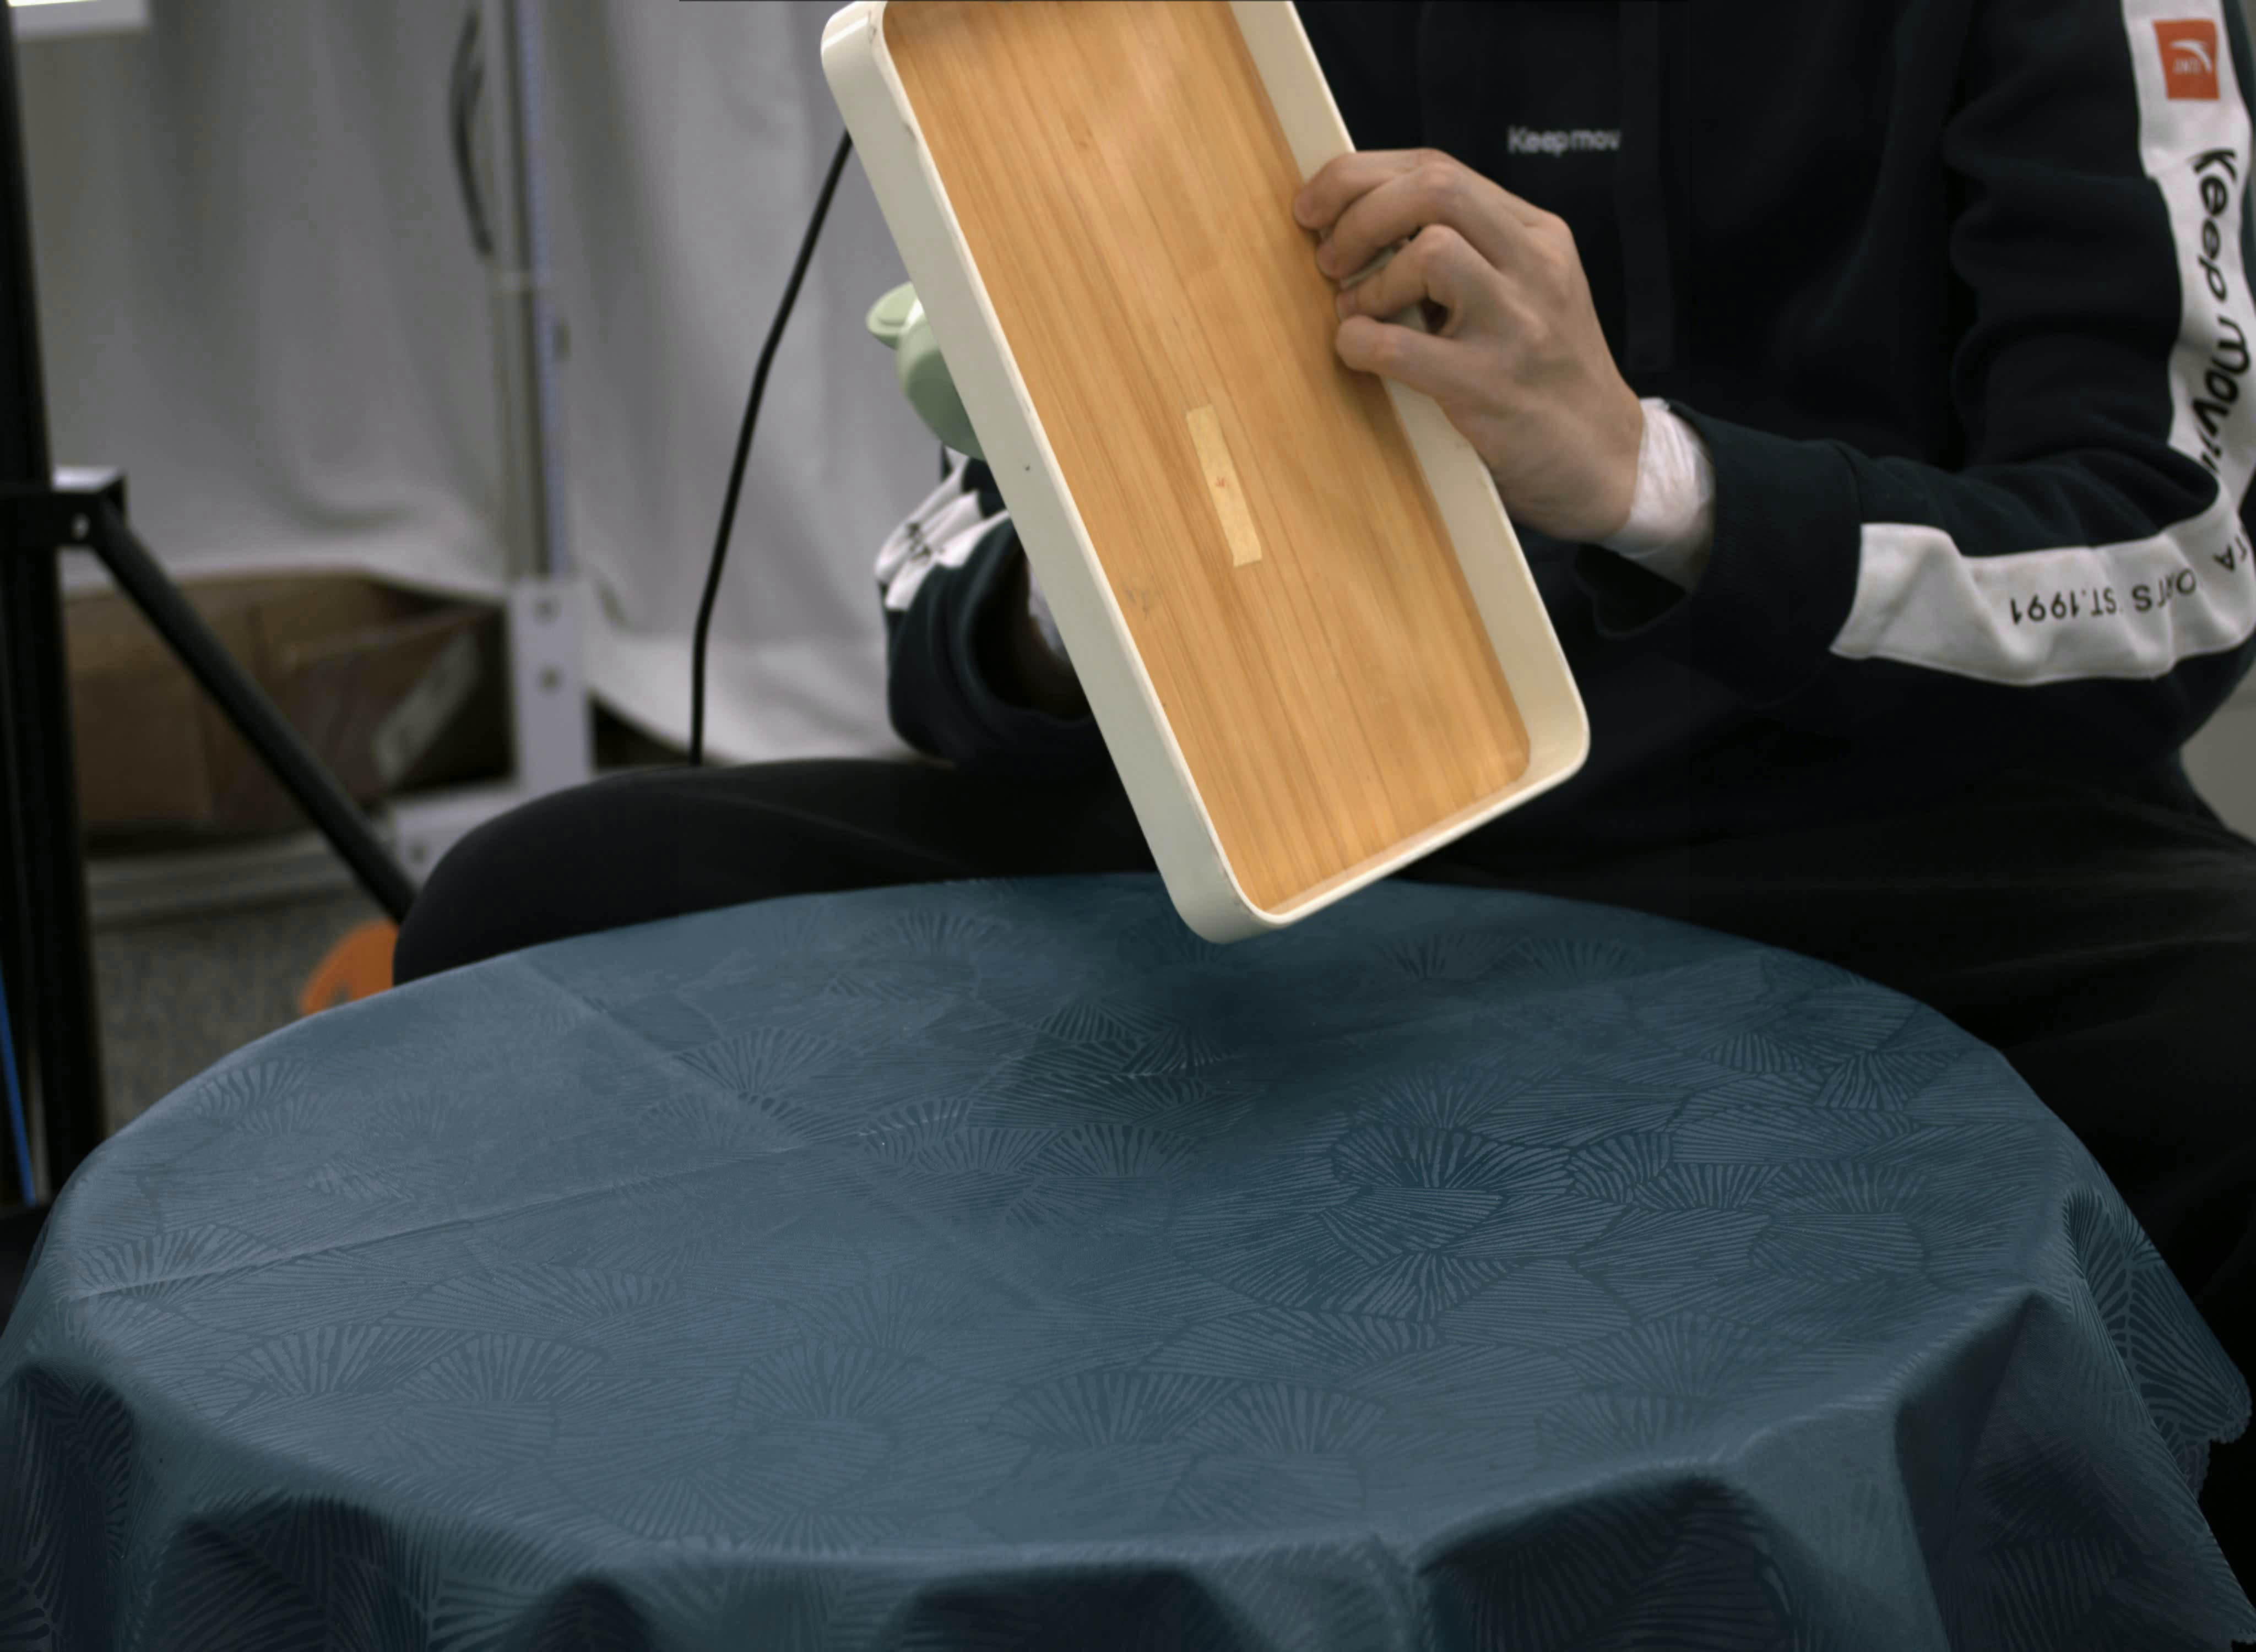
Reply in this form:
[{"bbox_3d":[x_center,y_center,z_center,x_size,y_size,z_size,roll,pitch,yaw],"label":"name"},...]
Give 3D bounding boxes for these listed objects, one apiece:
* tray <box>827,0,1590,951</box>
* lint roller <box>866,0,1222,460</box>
[{"bbox_3d":[0.028,-0.126,1.612,0.028,0.301,0.188,-22,1,43],"label":"tray"},{"bbox_3d":[-0.023,-0.166,1.697,0.083,0.181,0.199,11,52,14],"label":"lint roller"}]
